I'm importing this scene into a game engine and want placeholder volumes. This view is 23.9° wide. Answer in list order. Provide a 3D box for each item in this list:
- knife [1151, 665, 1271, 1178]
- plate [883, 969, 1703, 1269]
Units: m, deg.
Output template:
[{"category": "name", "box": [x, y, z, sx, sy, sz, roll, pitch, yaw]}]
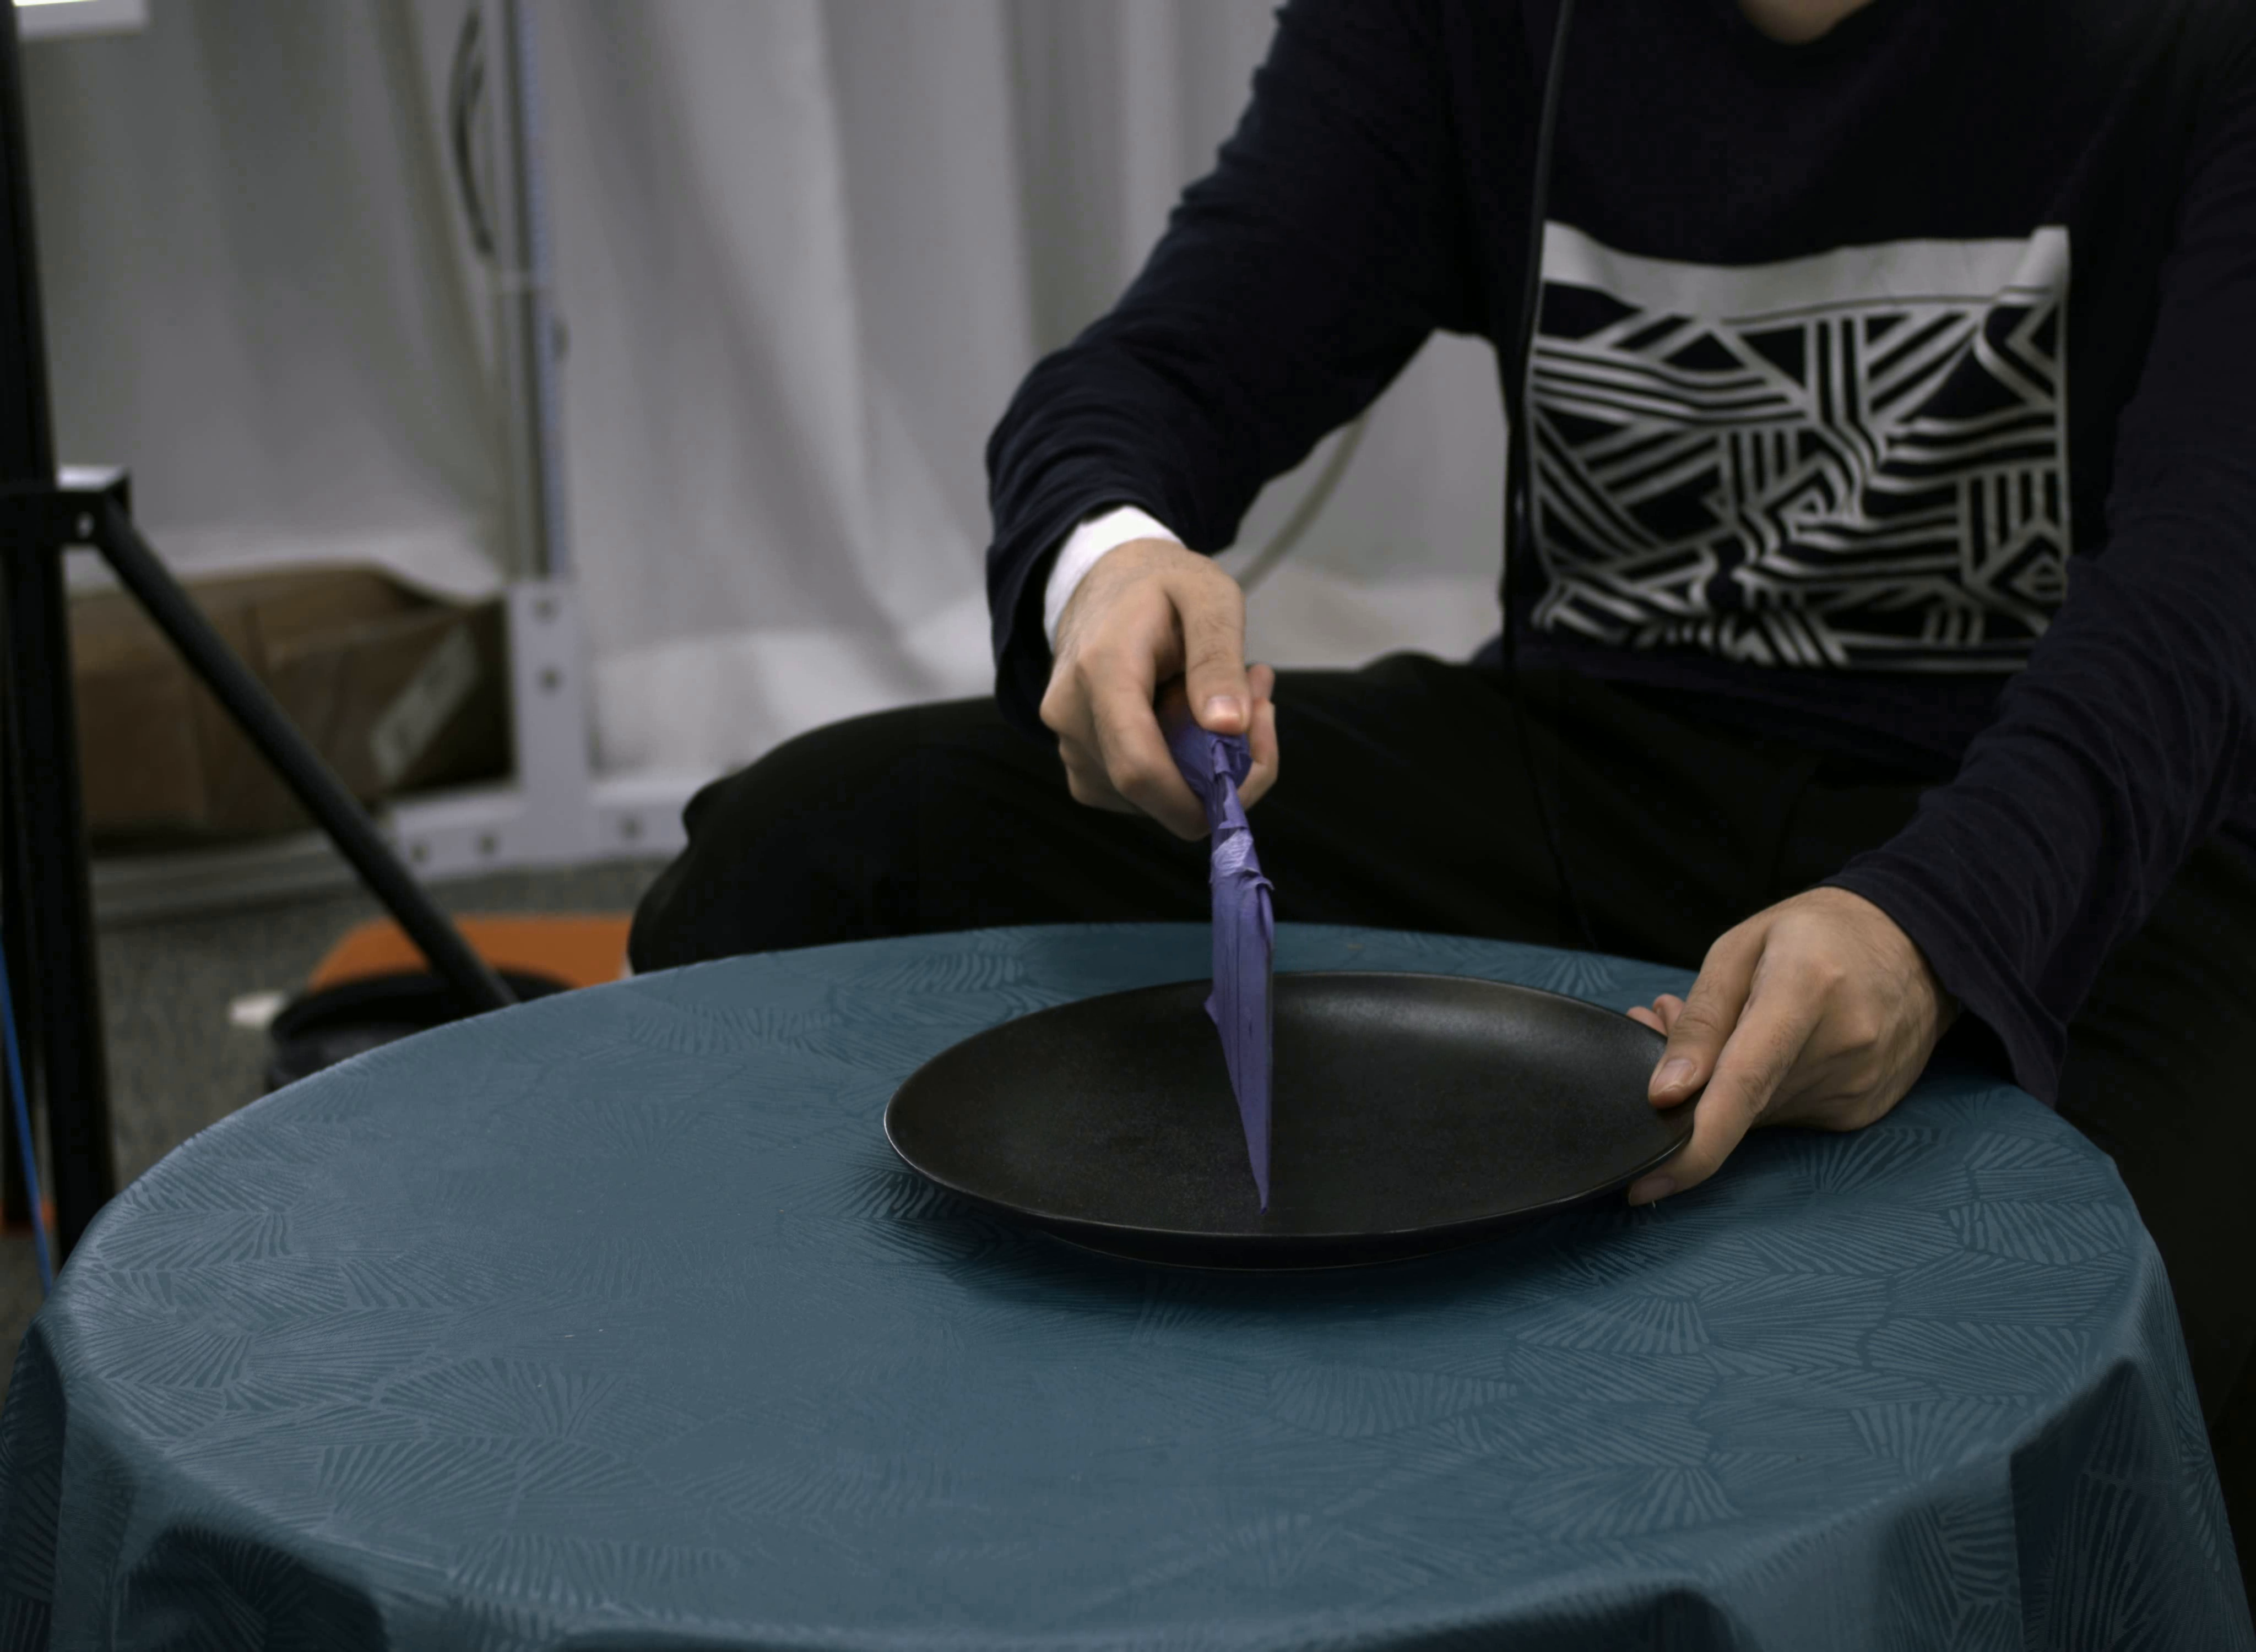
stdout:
[{"category": "knife", "box": [0.026, 0.026, 1.612, 0.032, 0.104, 0.316, 1, 14, -2]}, {"category": "plate", "box": [0.049, 0.089, 1.573, 0.243, 0.023, 0.245, -3, 16, 0]}]
